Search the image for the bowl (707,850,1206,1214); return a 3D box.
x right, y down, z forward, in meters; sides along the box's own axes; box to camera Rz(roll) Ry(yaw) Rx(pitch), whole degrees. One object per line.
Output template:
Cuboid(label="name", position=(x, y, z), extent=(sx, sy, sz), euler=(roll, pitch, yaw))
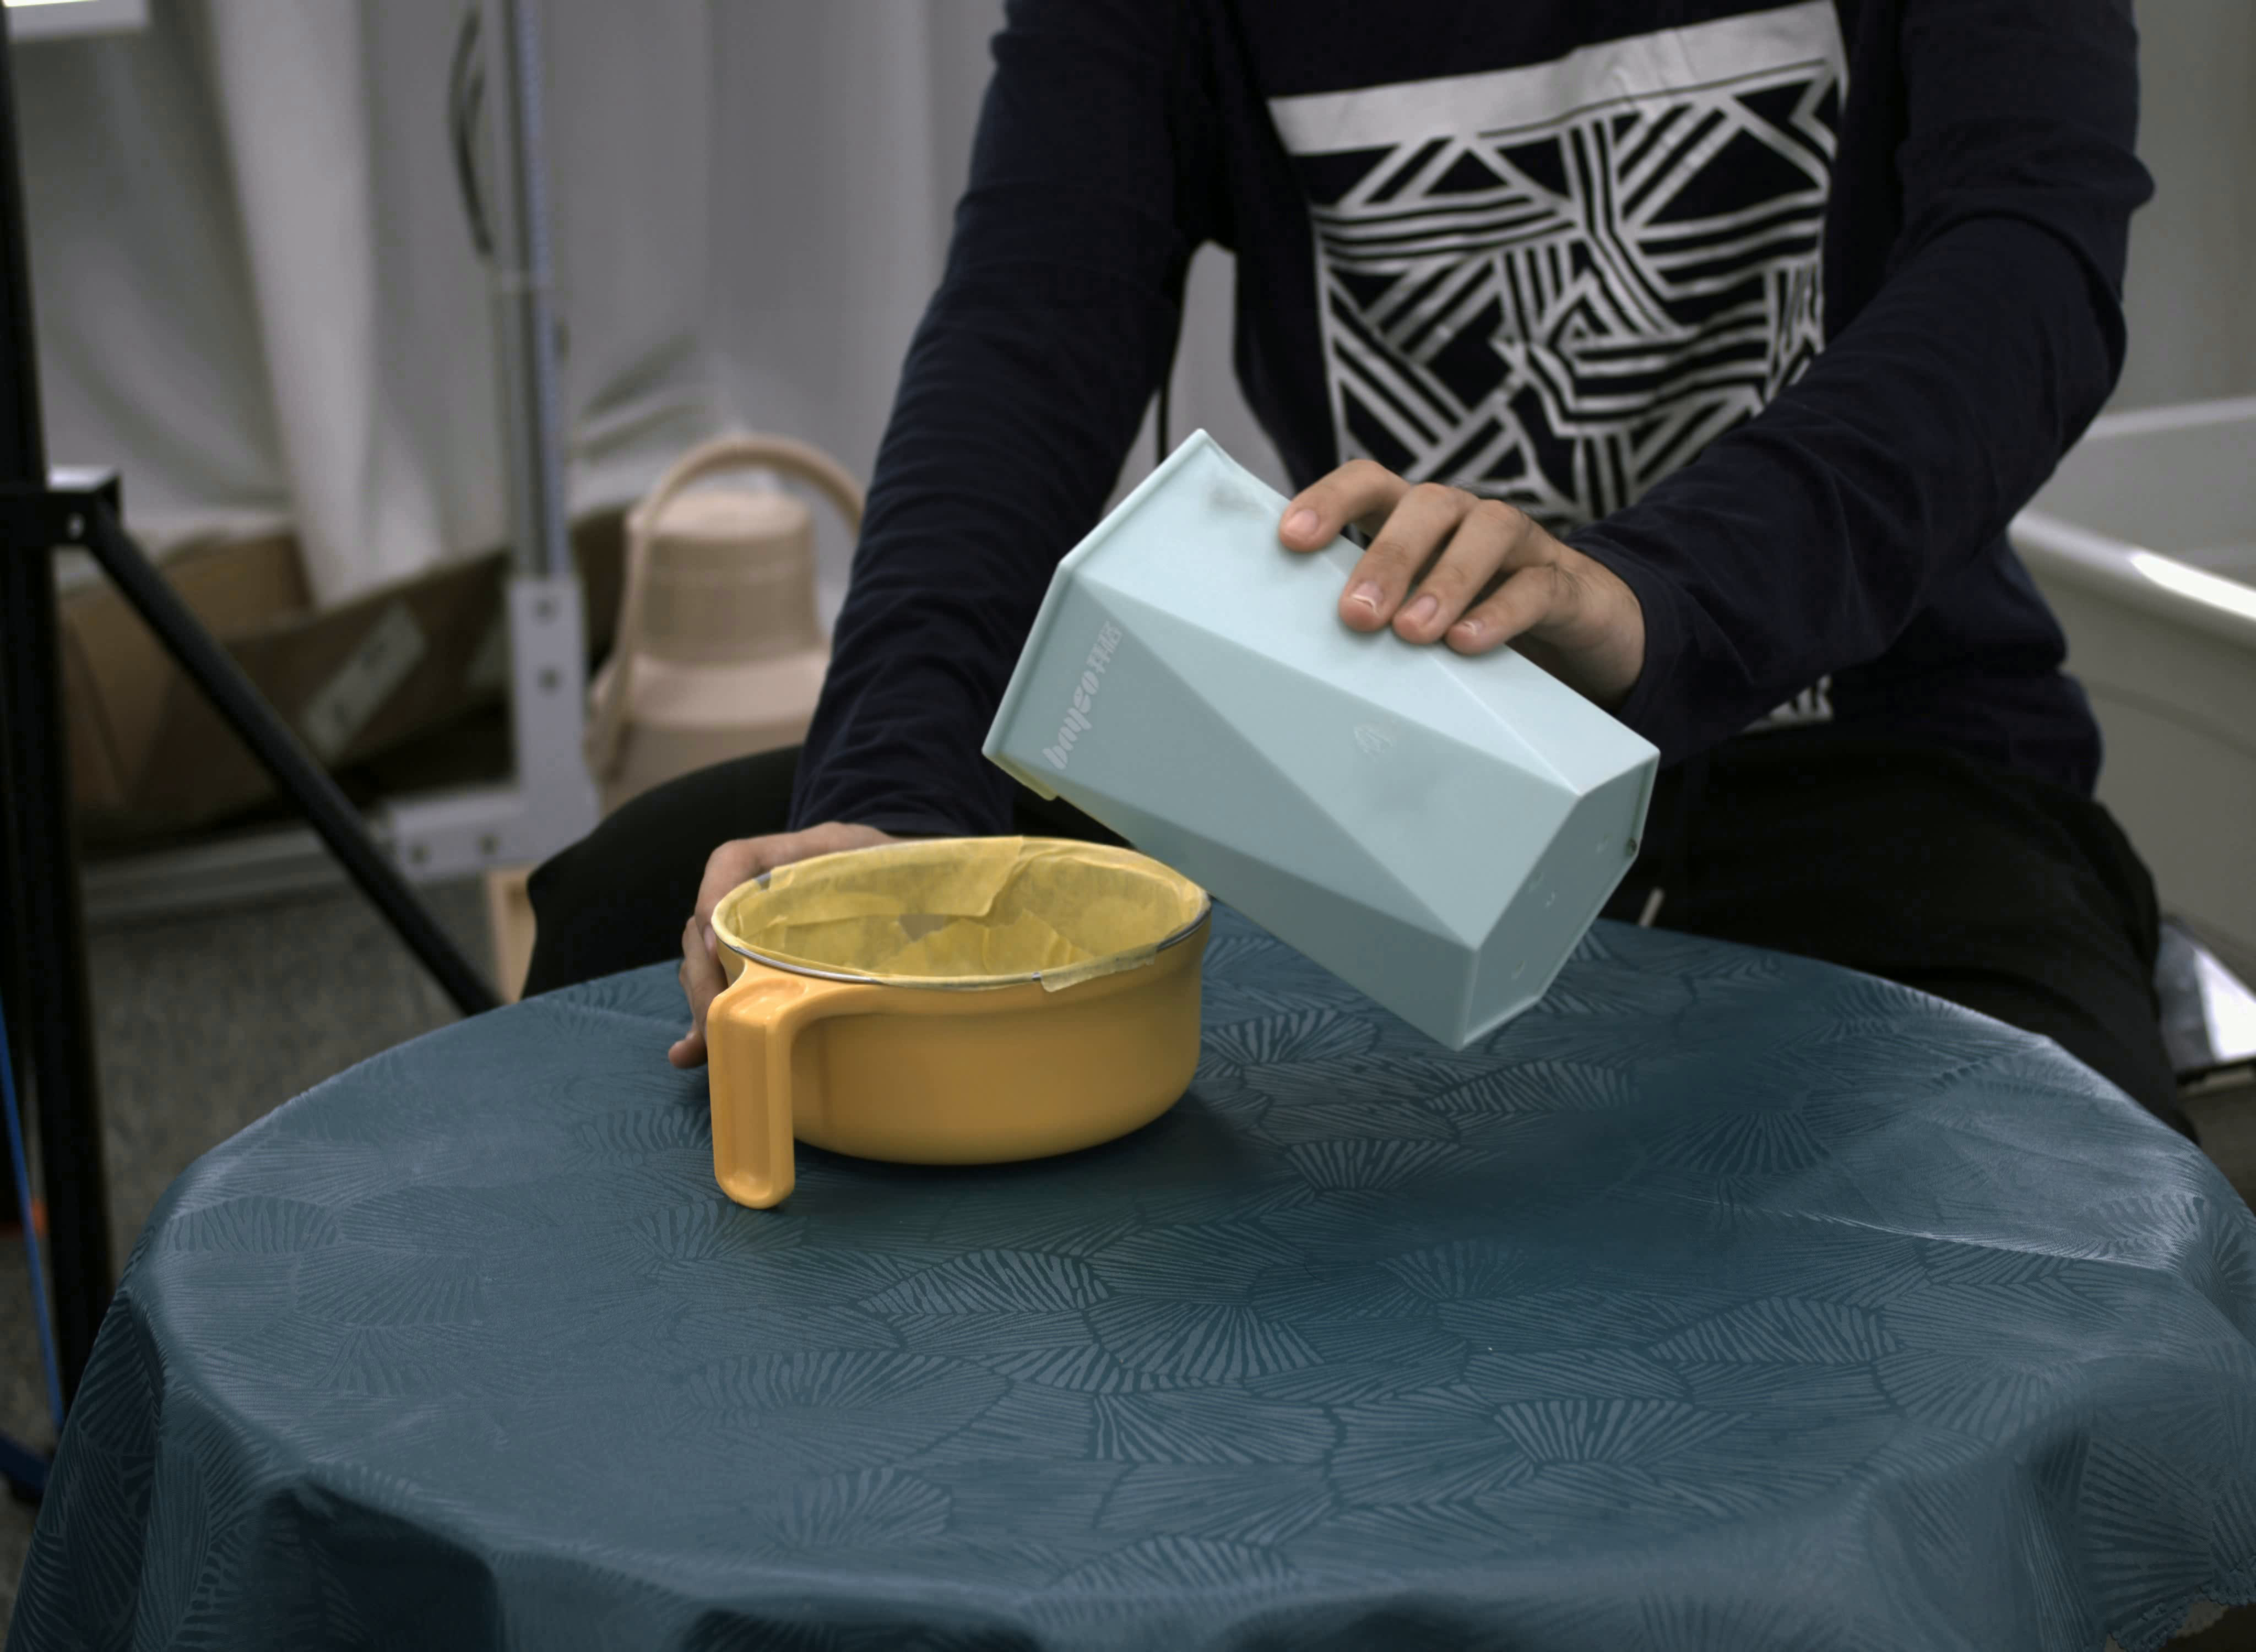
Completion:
Cuboid(label="bowl", position=(-0.059, 0.060, 1.618), extent=(0.156, 0.074, 0.175), euler=(9, 17, 34))

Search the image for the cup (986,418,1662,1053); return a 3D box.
Cuboid(label="cup", position=(0.061, -0.022, 1.543), extent=(0.165, 0.131, 0.113), euler=(36, 28, 21))
